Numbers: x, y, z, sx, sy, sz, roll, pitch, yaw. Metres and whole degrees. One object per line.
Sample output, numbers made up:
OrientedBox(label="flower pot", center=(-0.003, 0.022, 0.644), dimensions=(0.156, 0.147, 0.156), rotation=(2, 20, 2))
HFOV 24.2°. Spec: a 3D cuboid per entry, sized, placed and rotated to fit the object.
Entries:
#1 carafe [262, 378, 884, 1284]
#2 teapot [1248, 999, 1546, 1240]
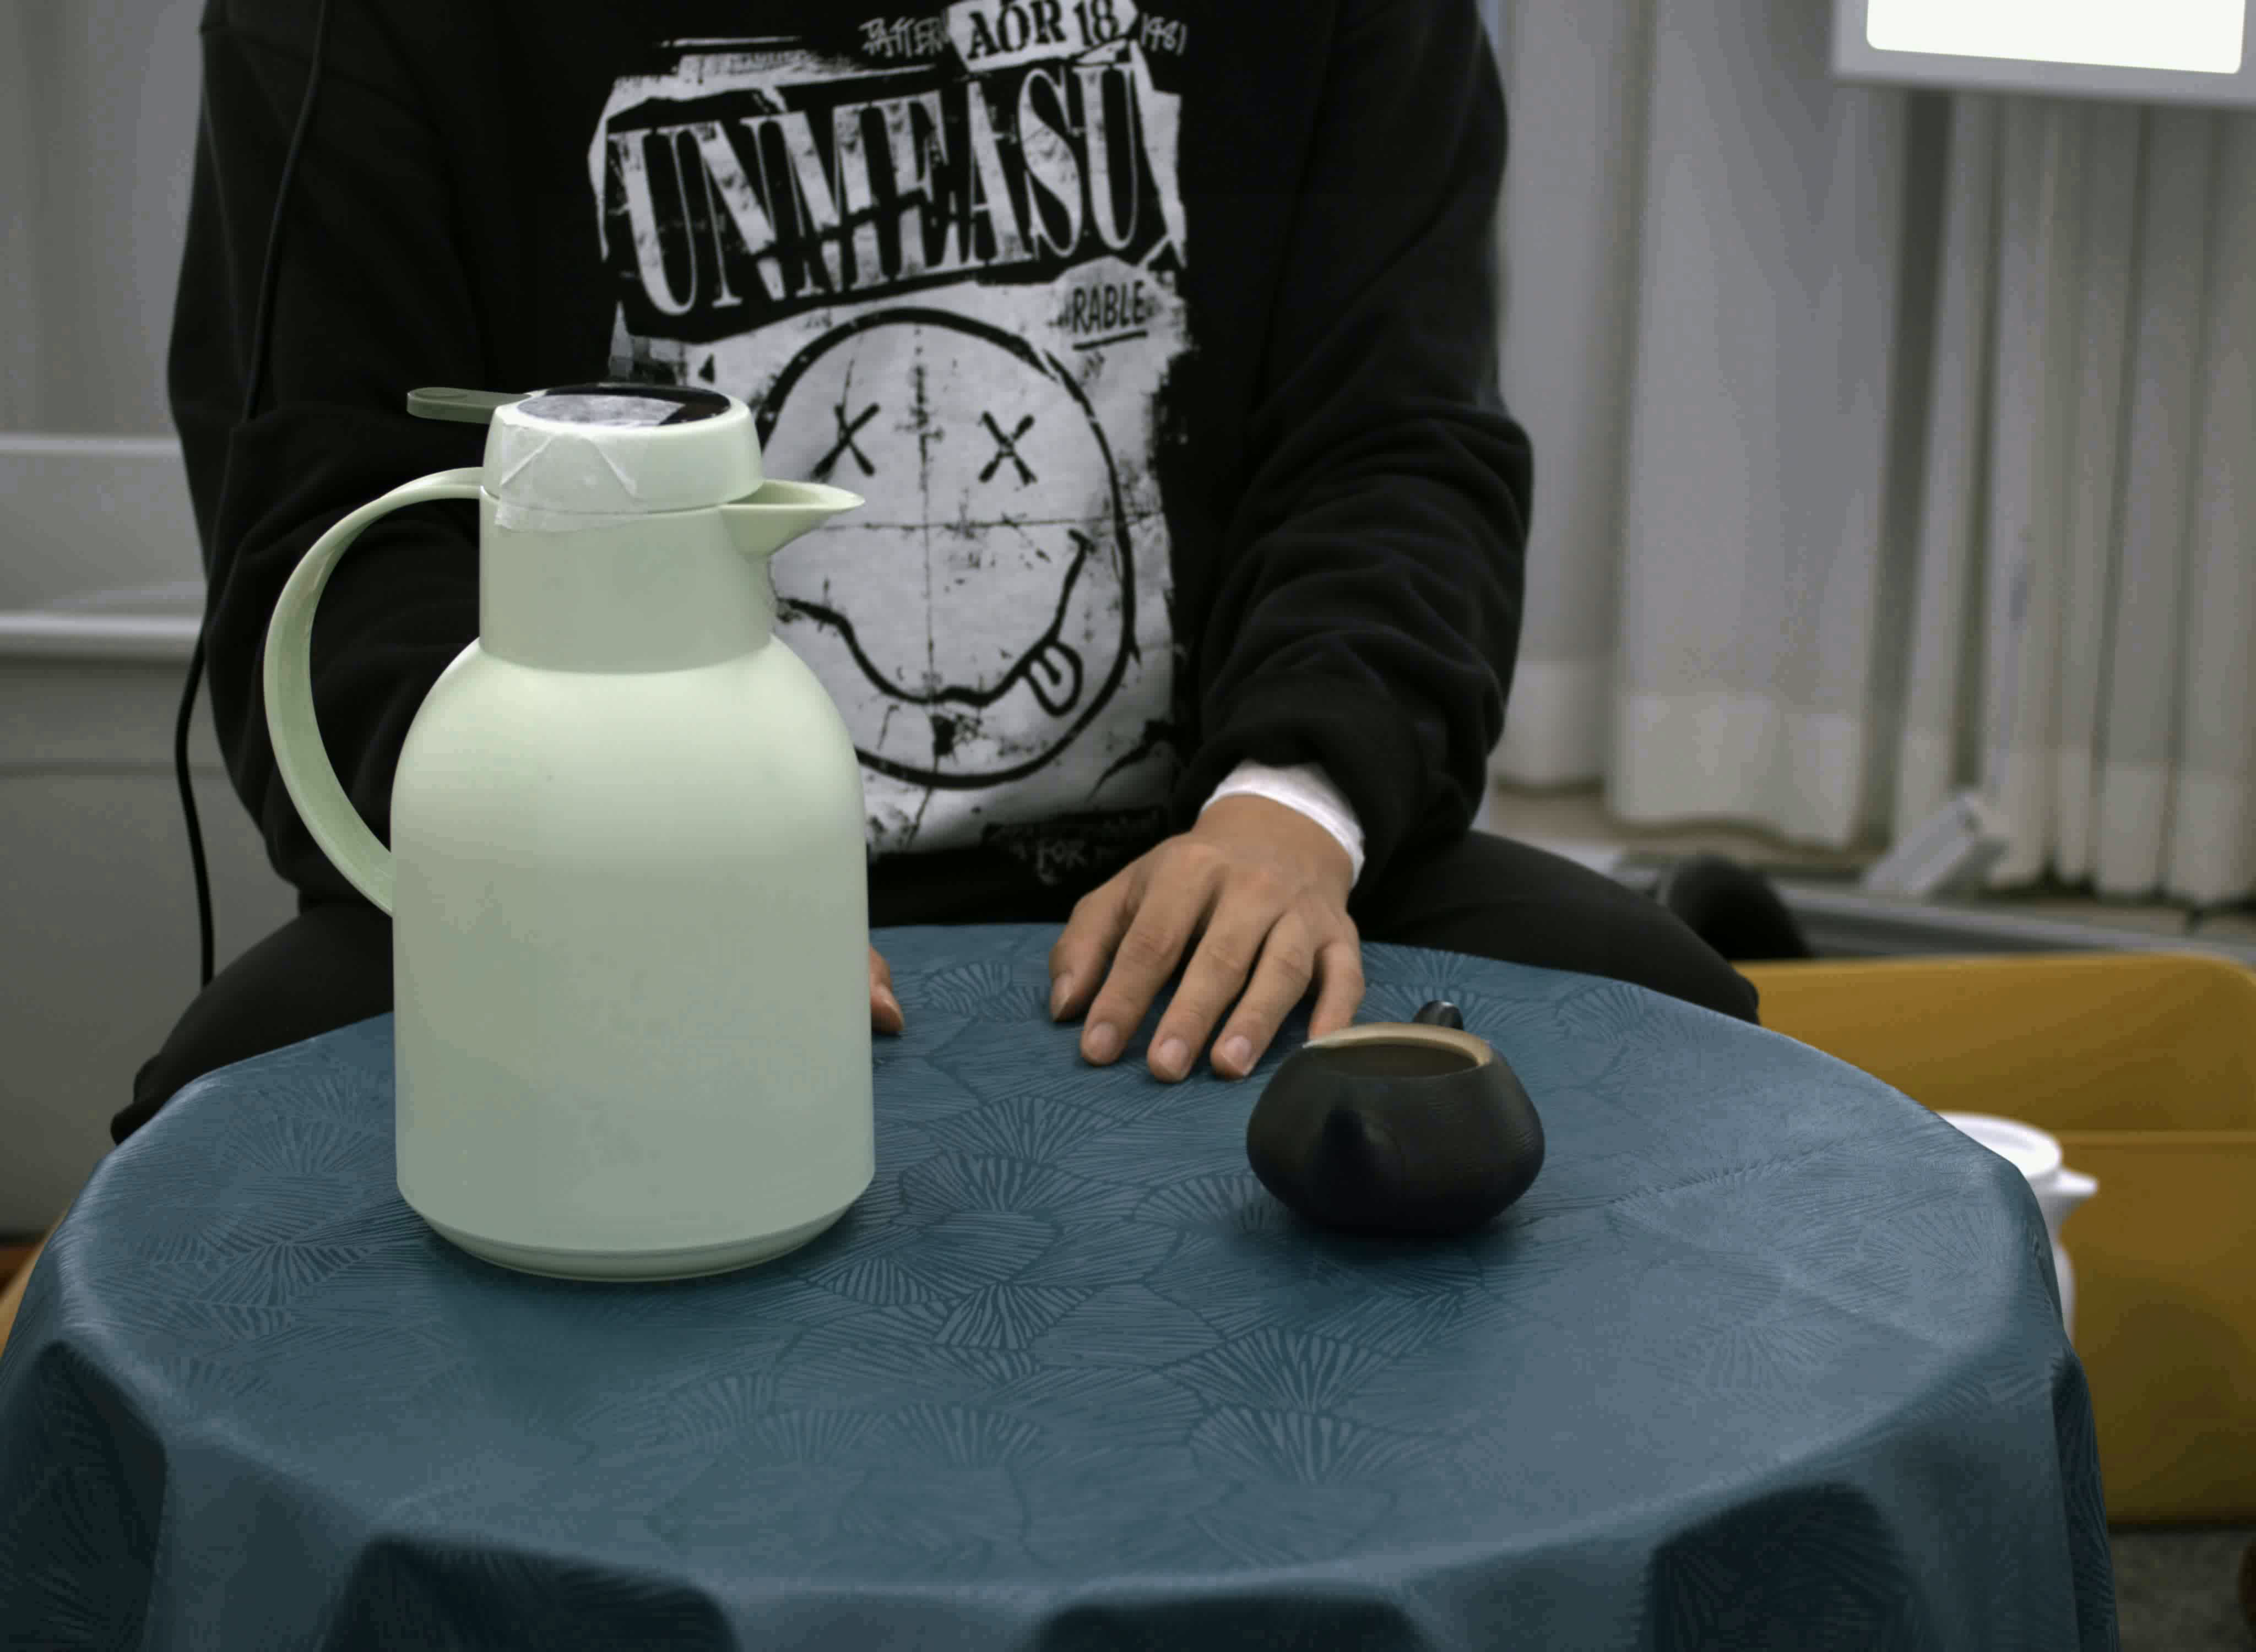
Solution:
OrientedBox(label="carafe", center=(-0.162, -0.003, 1.566), dimensions=(0.185, 0.259, 0.144), rotation=(1, 17, 13))
OrientedBox(label="teapot", center=(0.082, 0.092, 1.597), dimensions=(0.090, 0.053, 0.133), rotation=(7, 17, 17))
